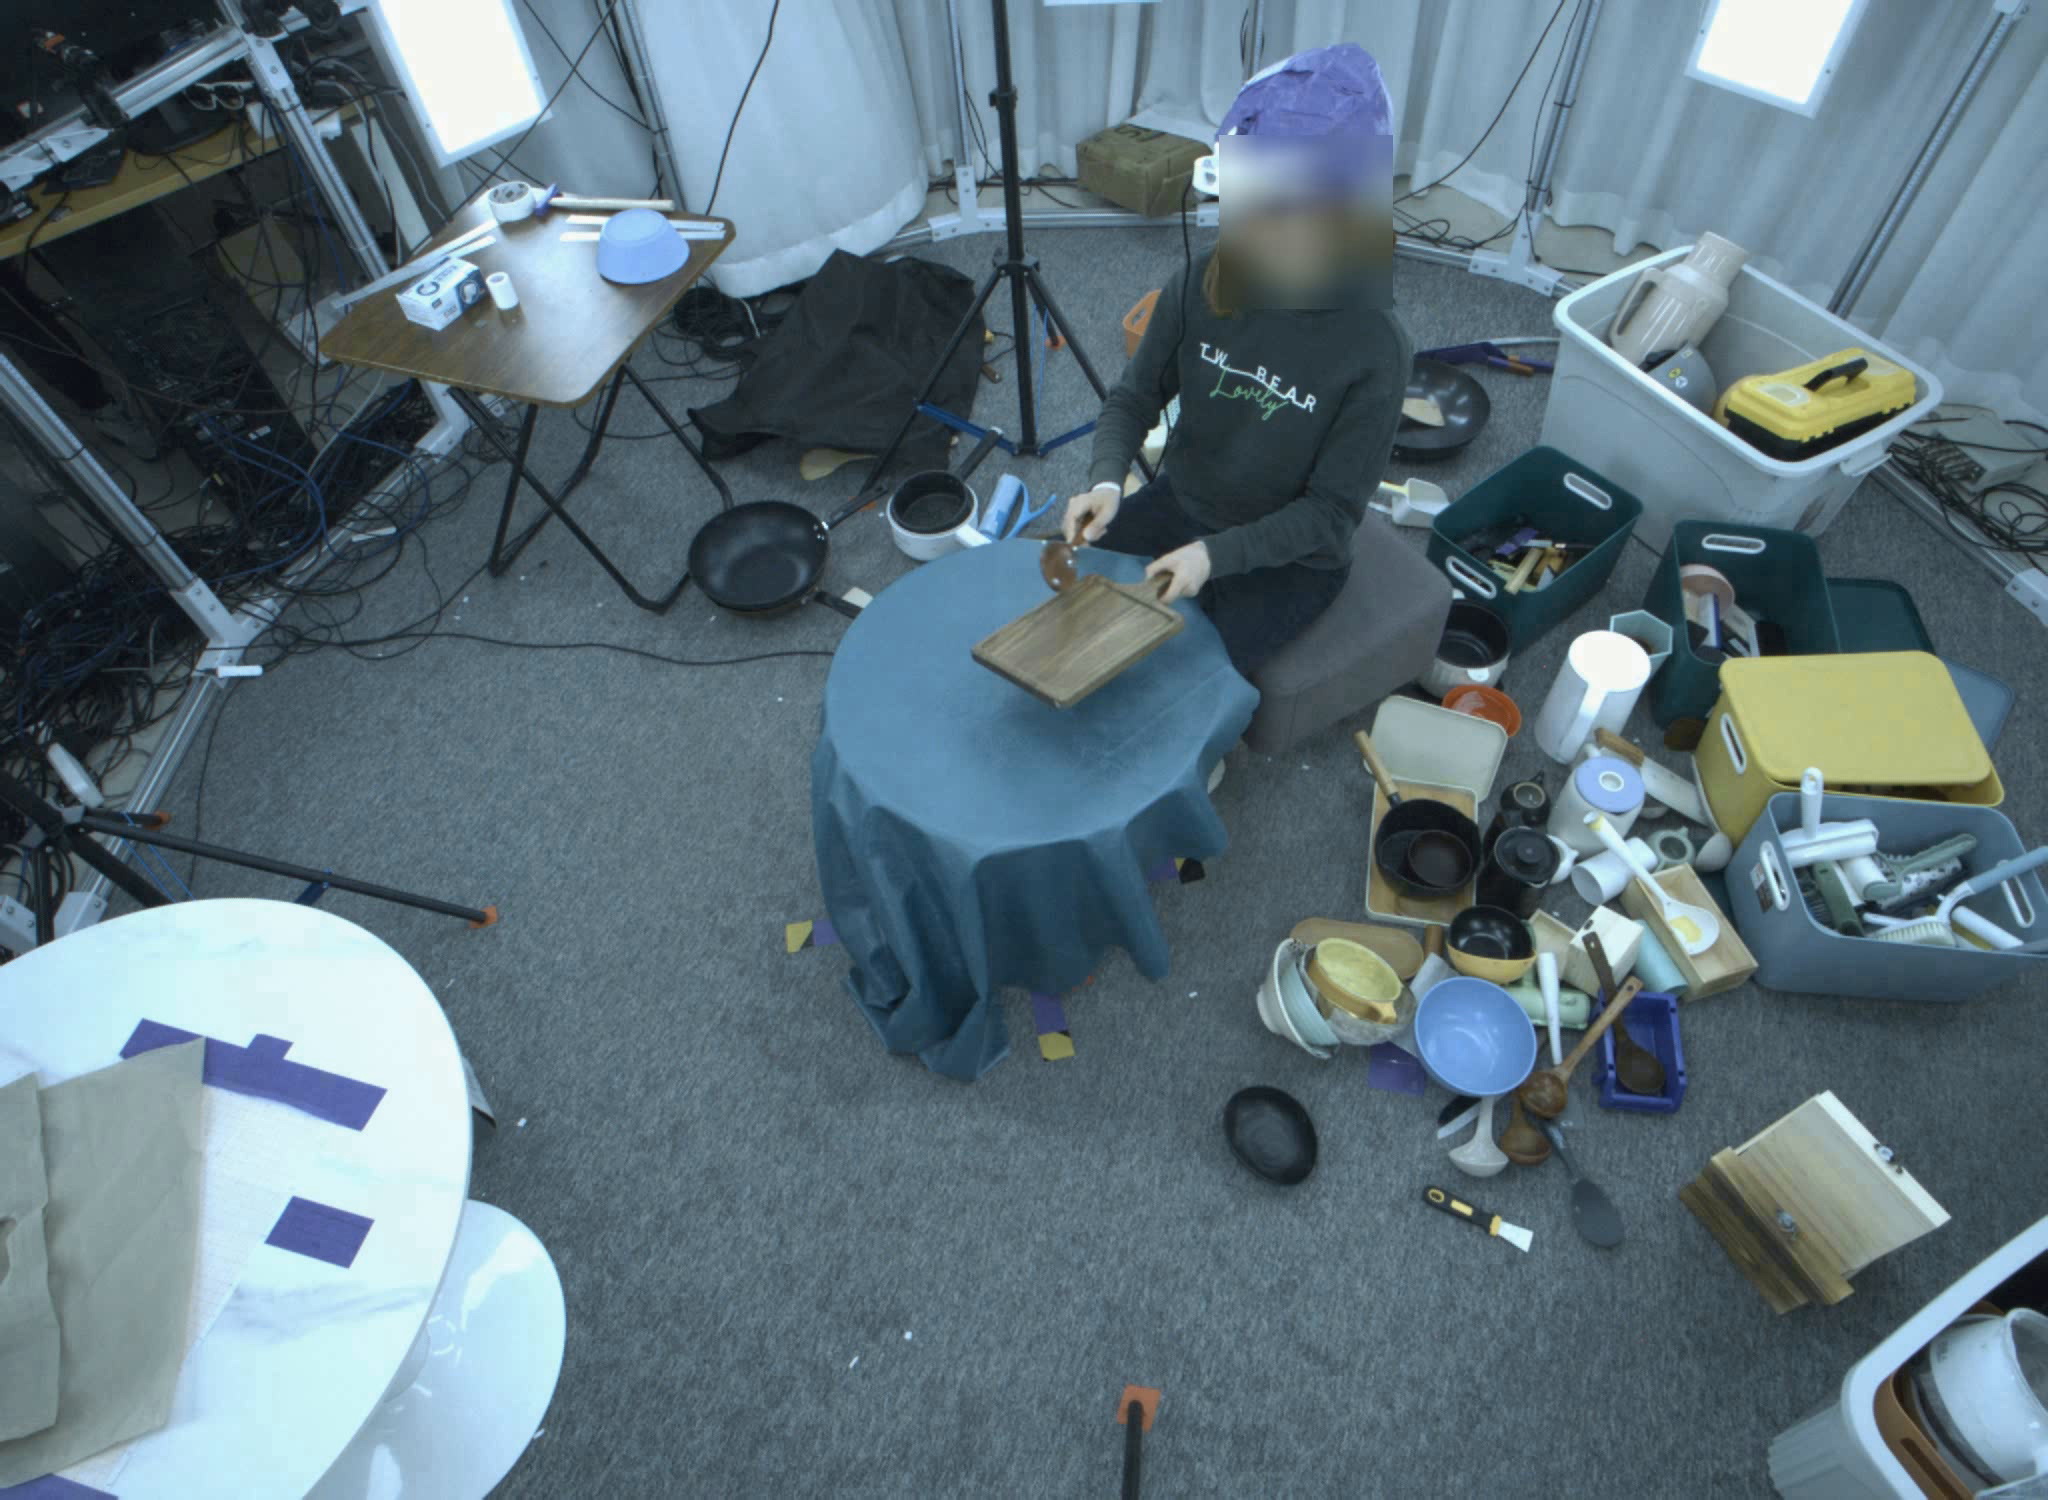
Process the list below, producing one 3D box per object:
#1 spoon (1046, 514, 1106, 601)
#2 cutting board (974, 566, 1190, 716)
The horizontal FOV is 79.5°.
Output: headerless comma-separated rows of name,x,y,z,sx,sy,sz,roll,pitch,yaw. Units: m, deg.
spoon,0.079,-0.290,1.814,0.017,0.076,0.216,-18,28,37
cutting board,0.117,-0.179,1.785,0.355,0.023,0.196,-35,47,-28
